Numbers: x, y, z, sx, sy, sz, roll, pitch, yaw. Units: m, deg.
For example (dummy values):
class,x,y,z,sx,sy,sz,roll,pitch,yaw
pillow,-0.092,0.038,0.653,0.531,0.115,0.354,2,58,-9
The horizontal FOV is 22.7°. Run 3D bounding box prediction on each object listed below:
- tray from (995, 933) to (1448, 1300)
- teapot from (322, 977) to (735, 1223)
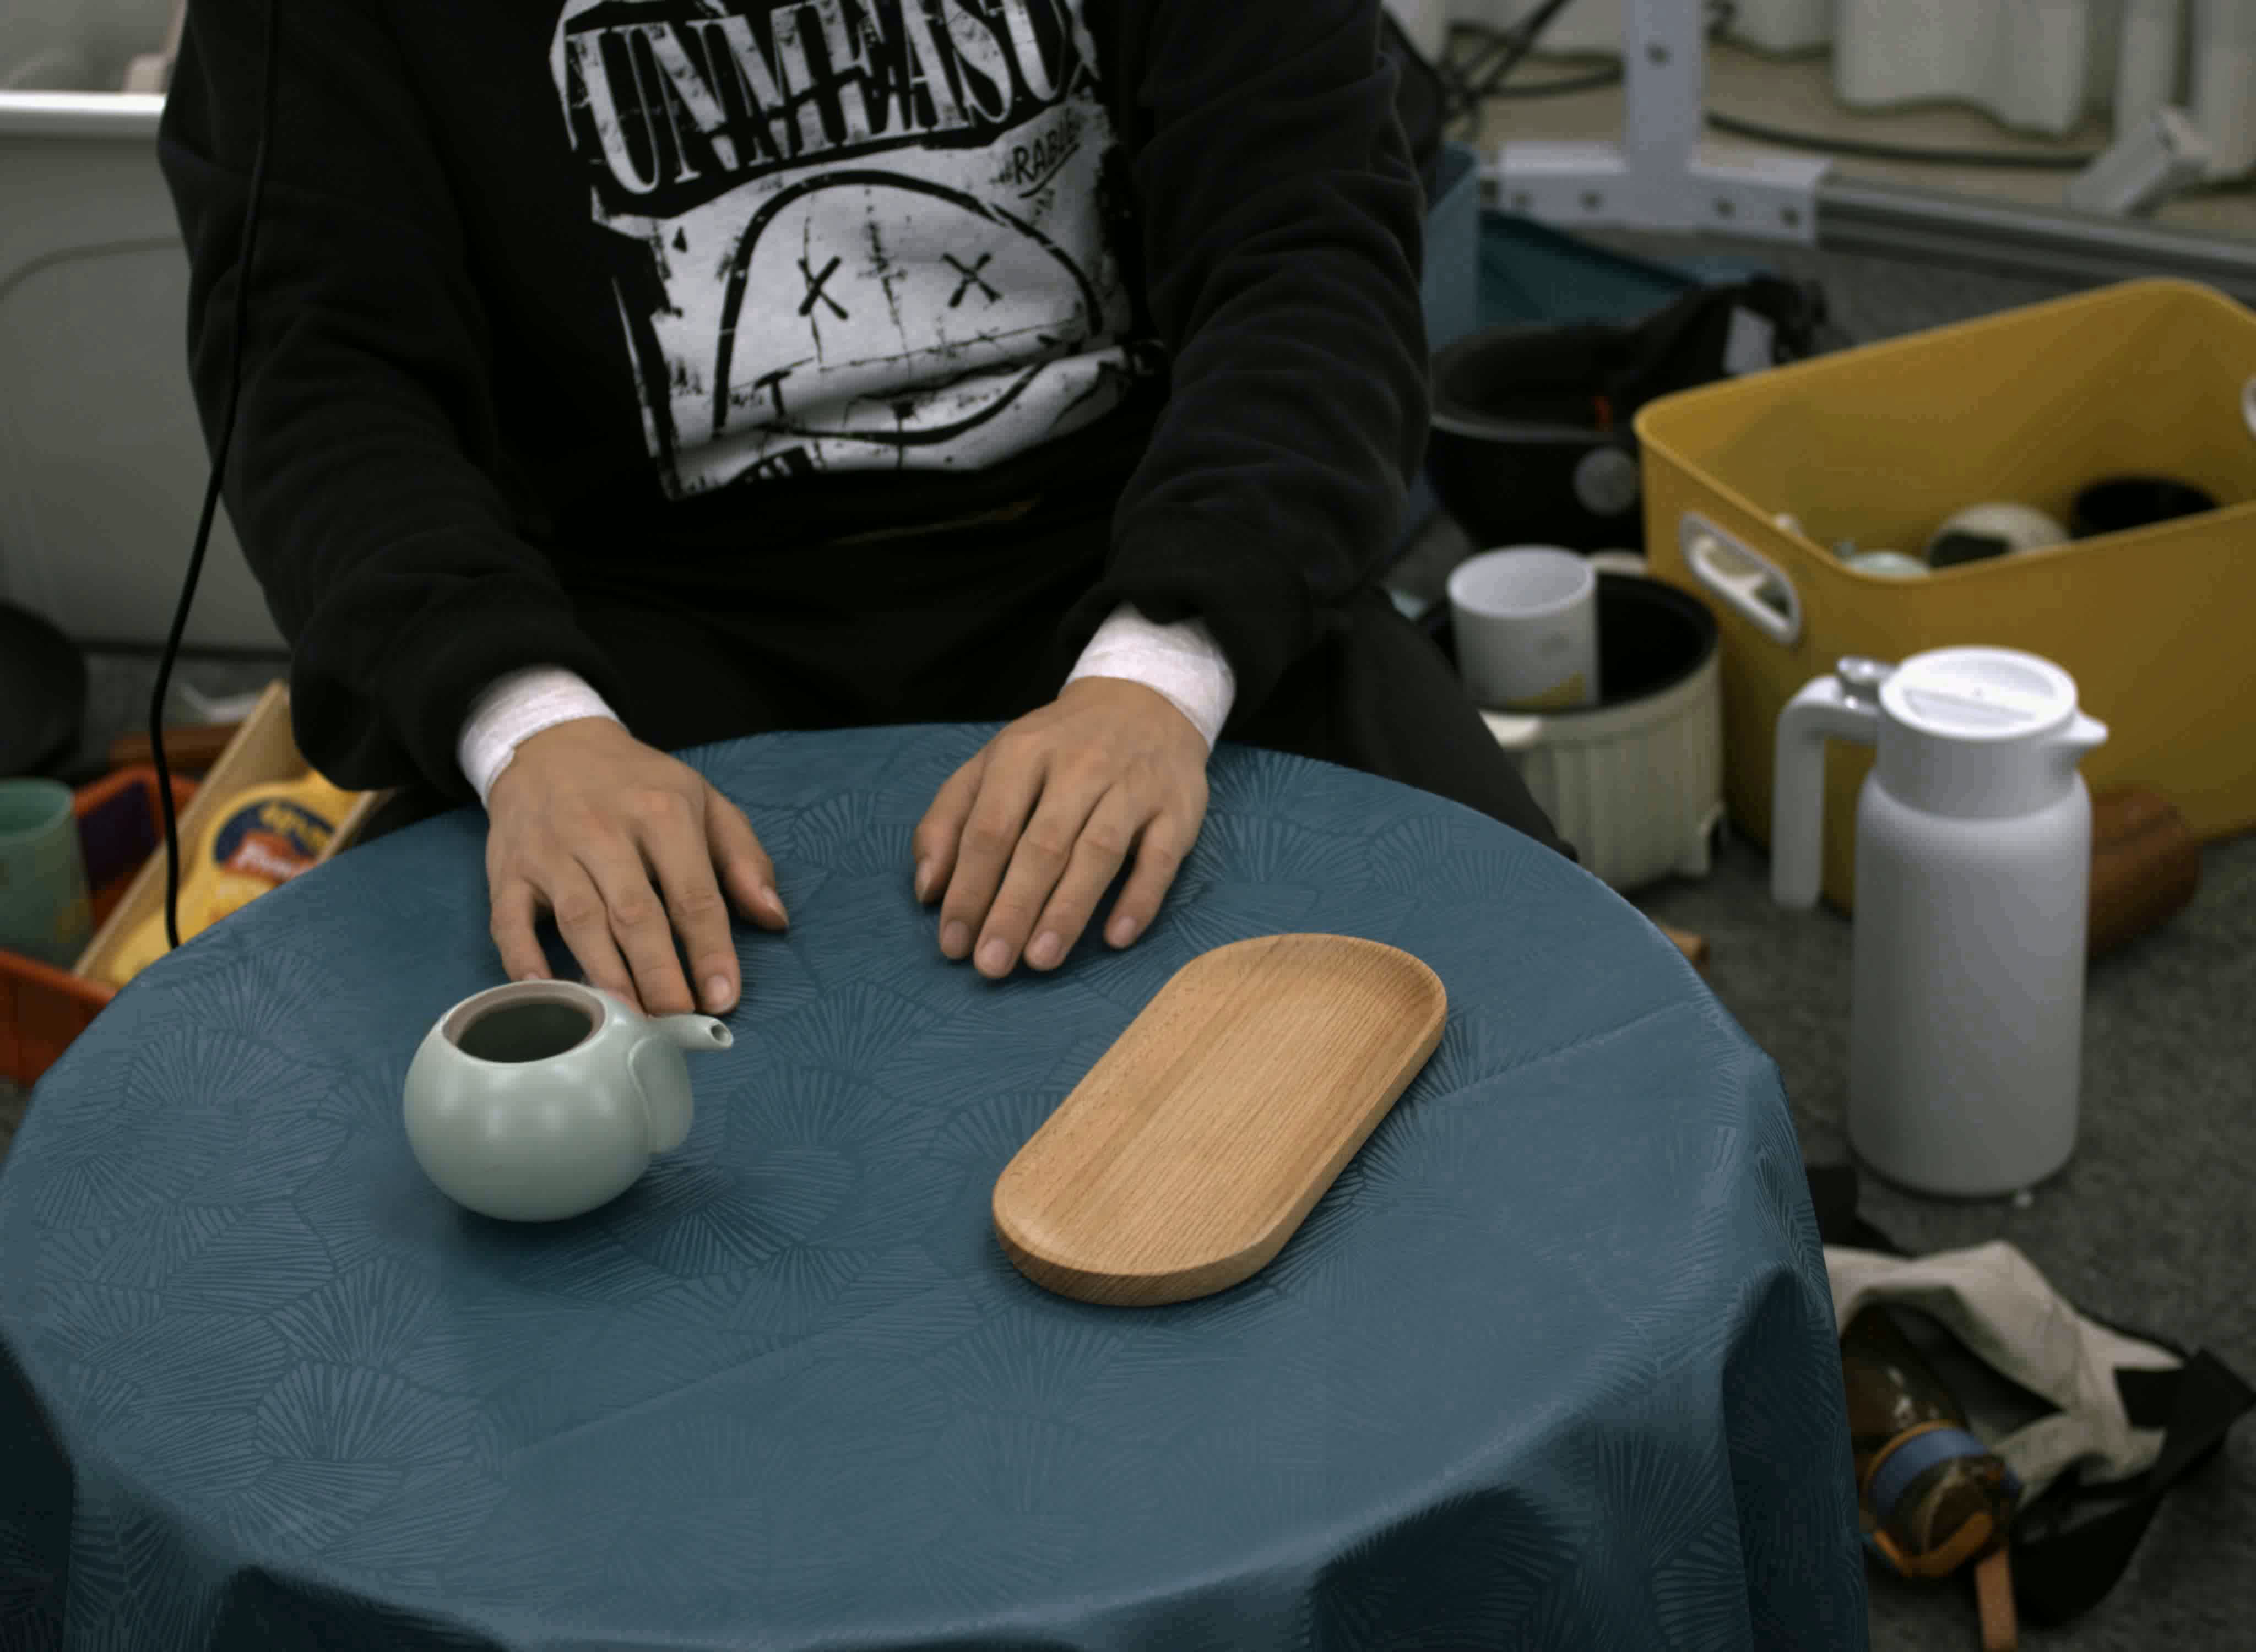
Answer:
class,x,y,z,sx,sy,sz,roll,pitch,yaw
tray,0.033,0.095,1.890,0.101,0.020,0.235,11,28,21
teapot,-0.197,0.090,1.860,0.143,0.074,0.090,7,28,14
